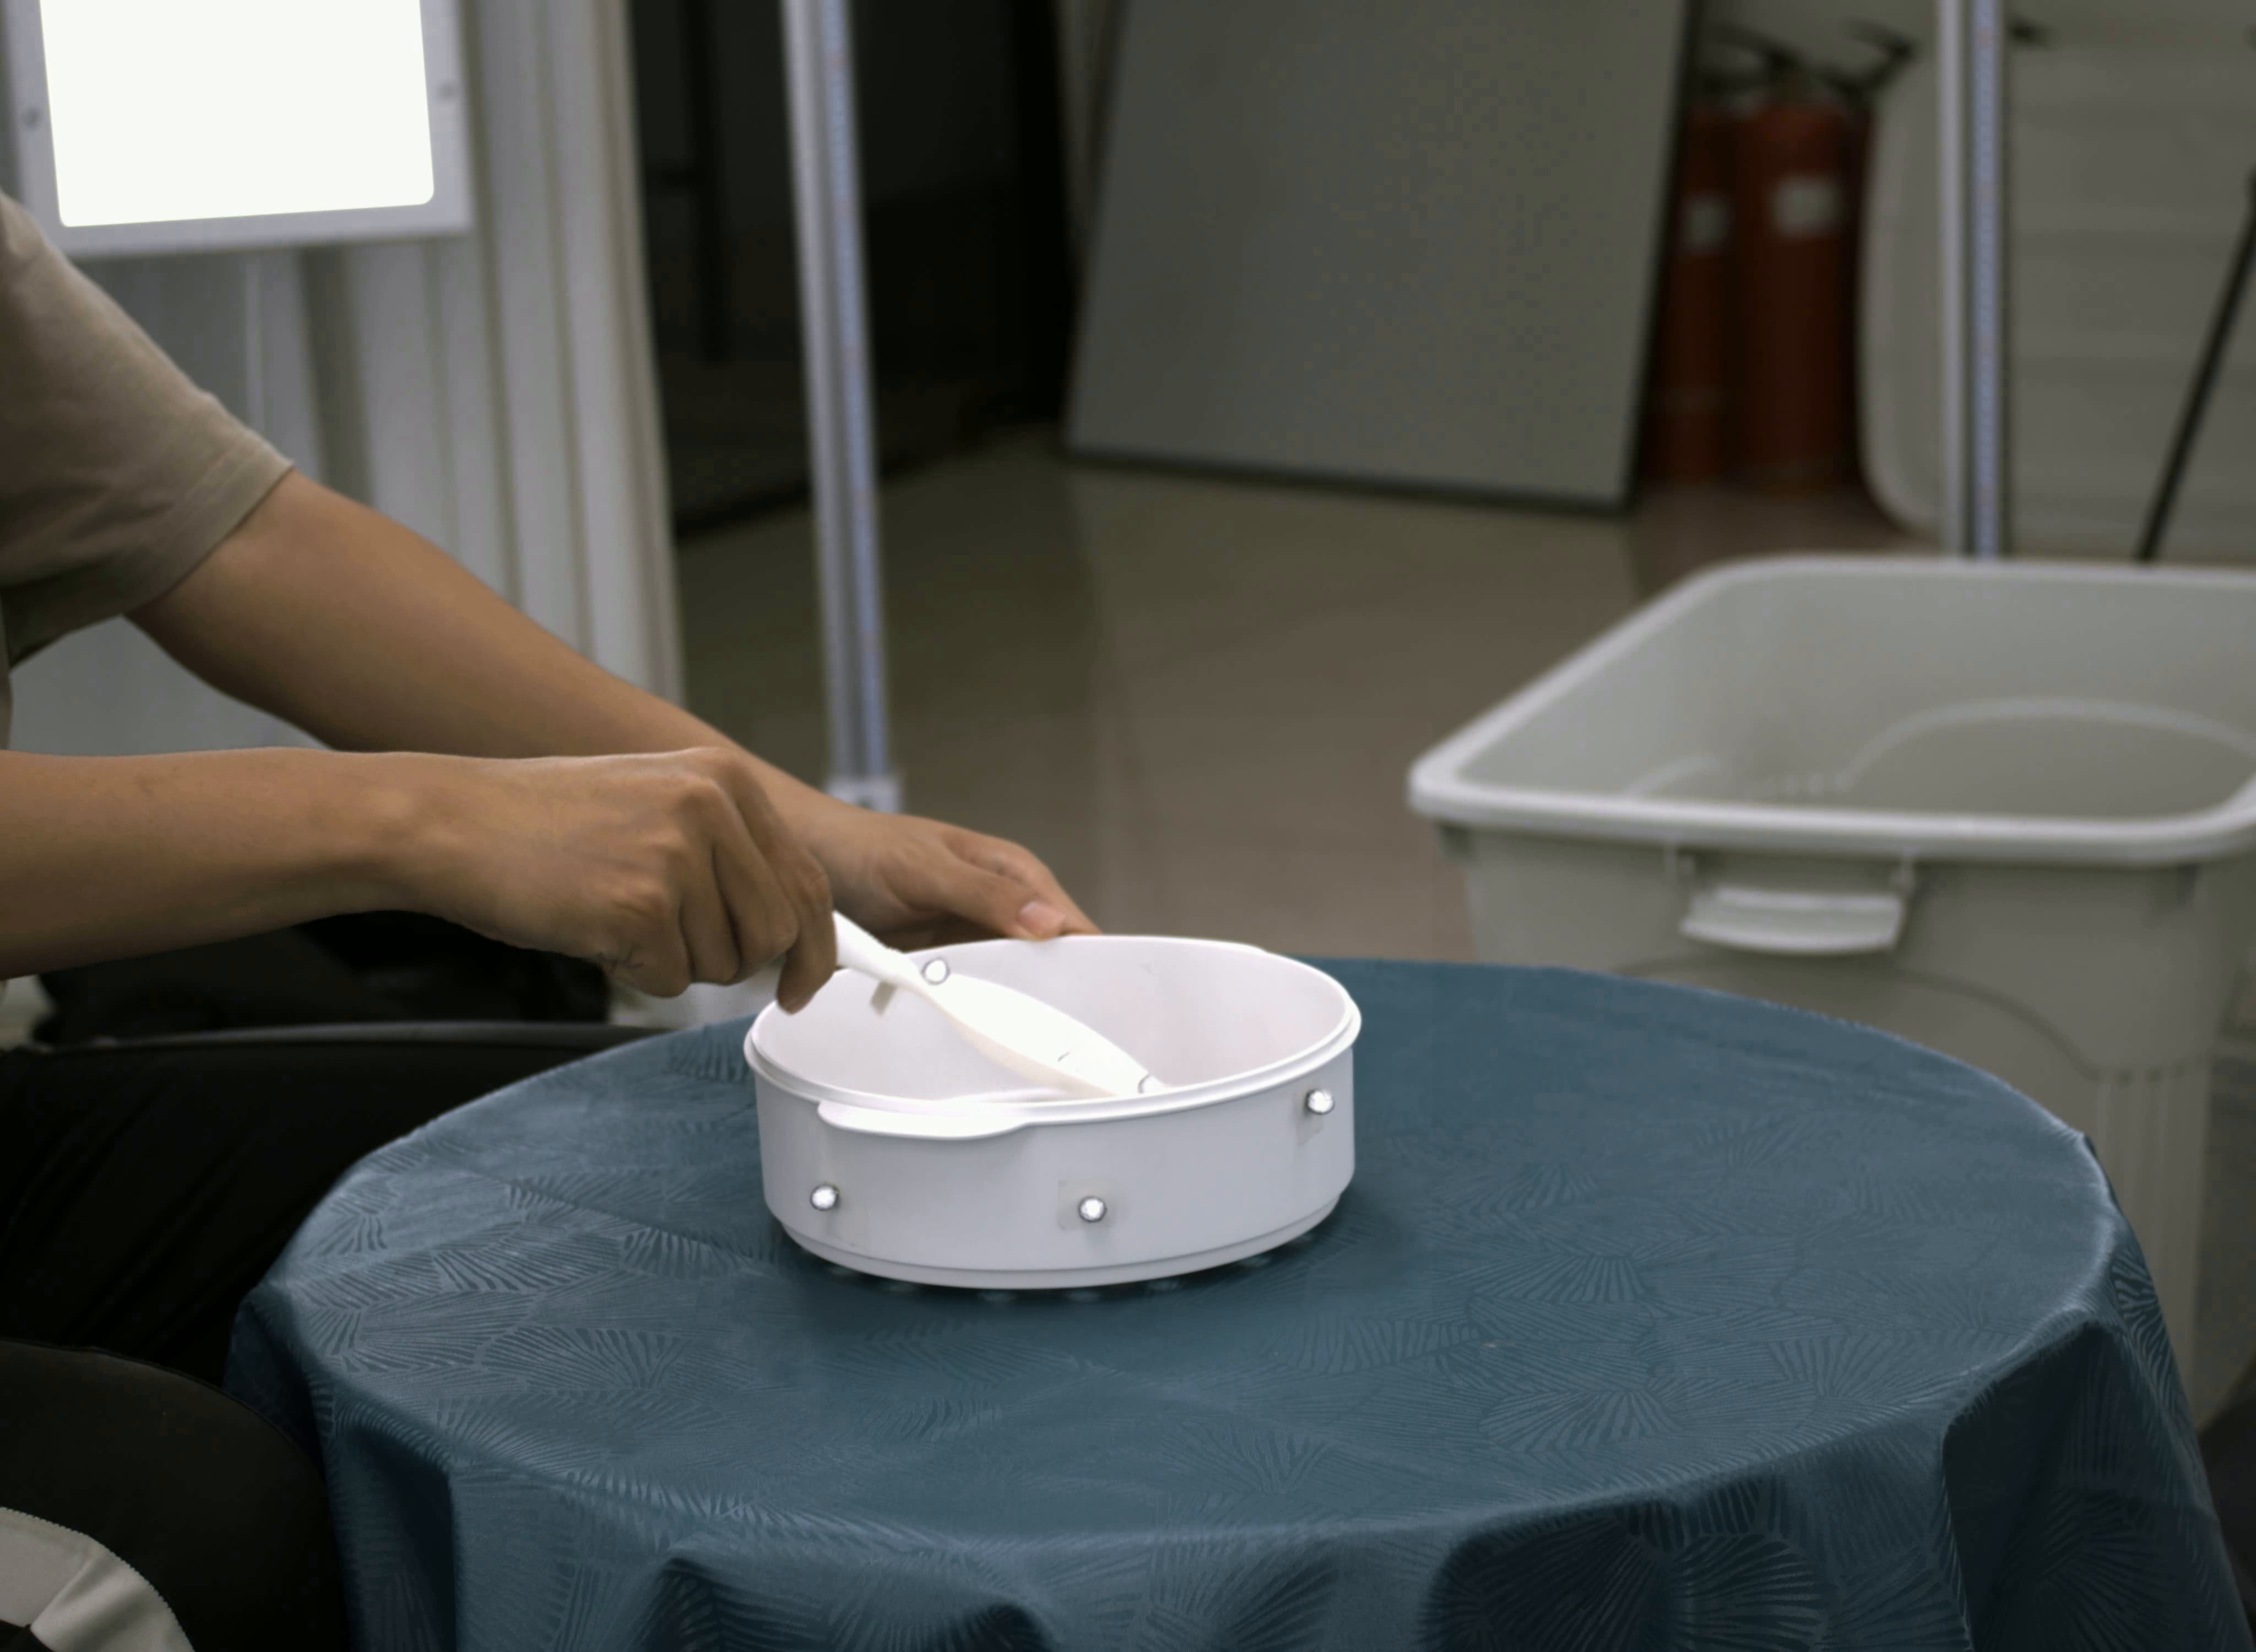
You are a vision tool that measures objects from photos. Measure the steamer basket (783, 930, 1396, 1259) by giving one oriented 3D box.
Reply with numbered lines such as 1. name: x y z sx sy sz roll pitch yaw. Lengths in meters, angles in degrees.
1. steamer basket: -0.012 0.087 1.757 0.202 0.070 0.227 3 12 26

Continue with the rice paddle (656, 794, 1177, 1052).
1. rice paddle: -0.059 0.039 1.734 0.201 0.029 0.069 24 12 -28
